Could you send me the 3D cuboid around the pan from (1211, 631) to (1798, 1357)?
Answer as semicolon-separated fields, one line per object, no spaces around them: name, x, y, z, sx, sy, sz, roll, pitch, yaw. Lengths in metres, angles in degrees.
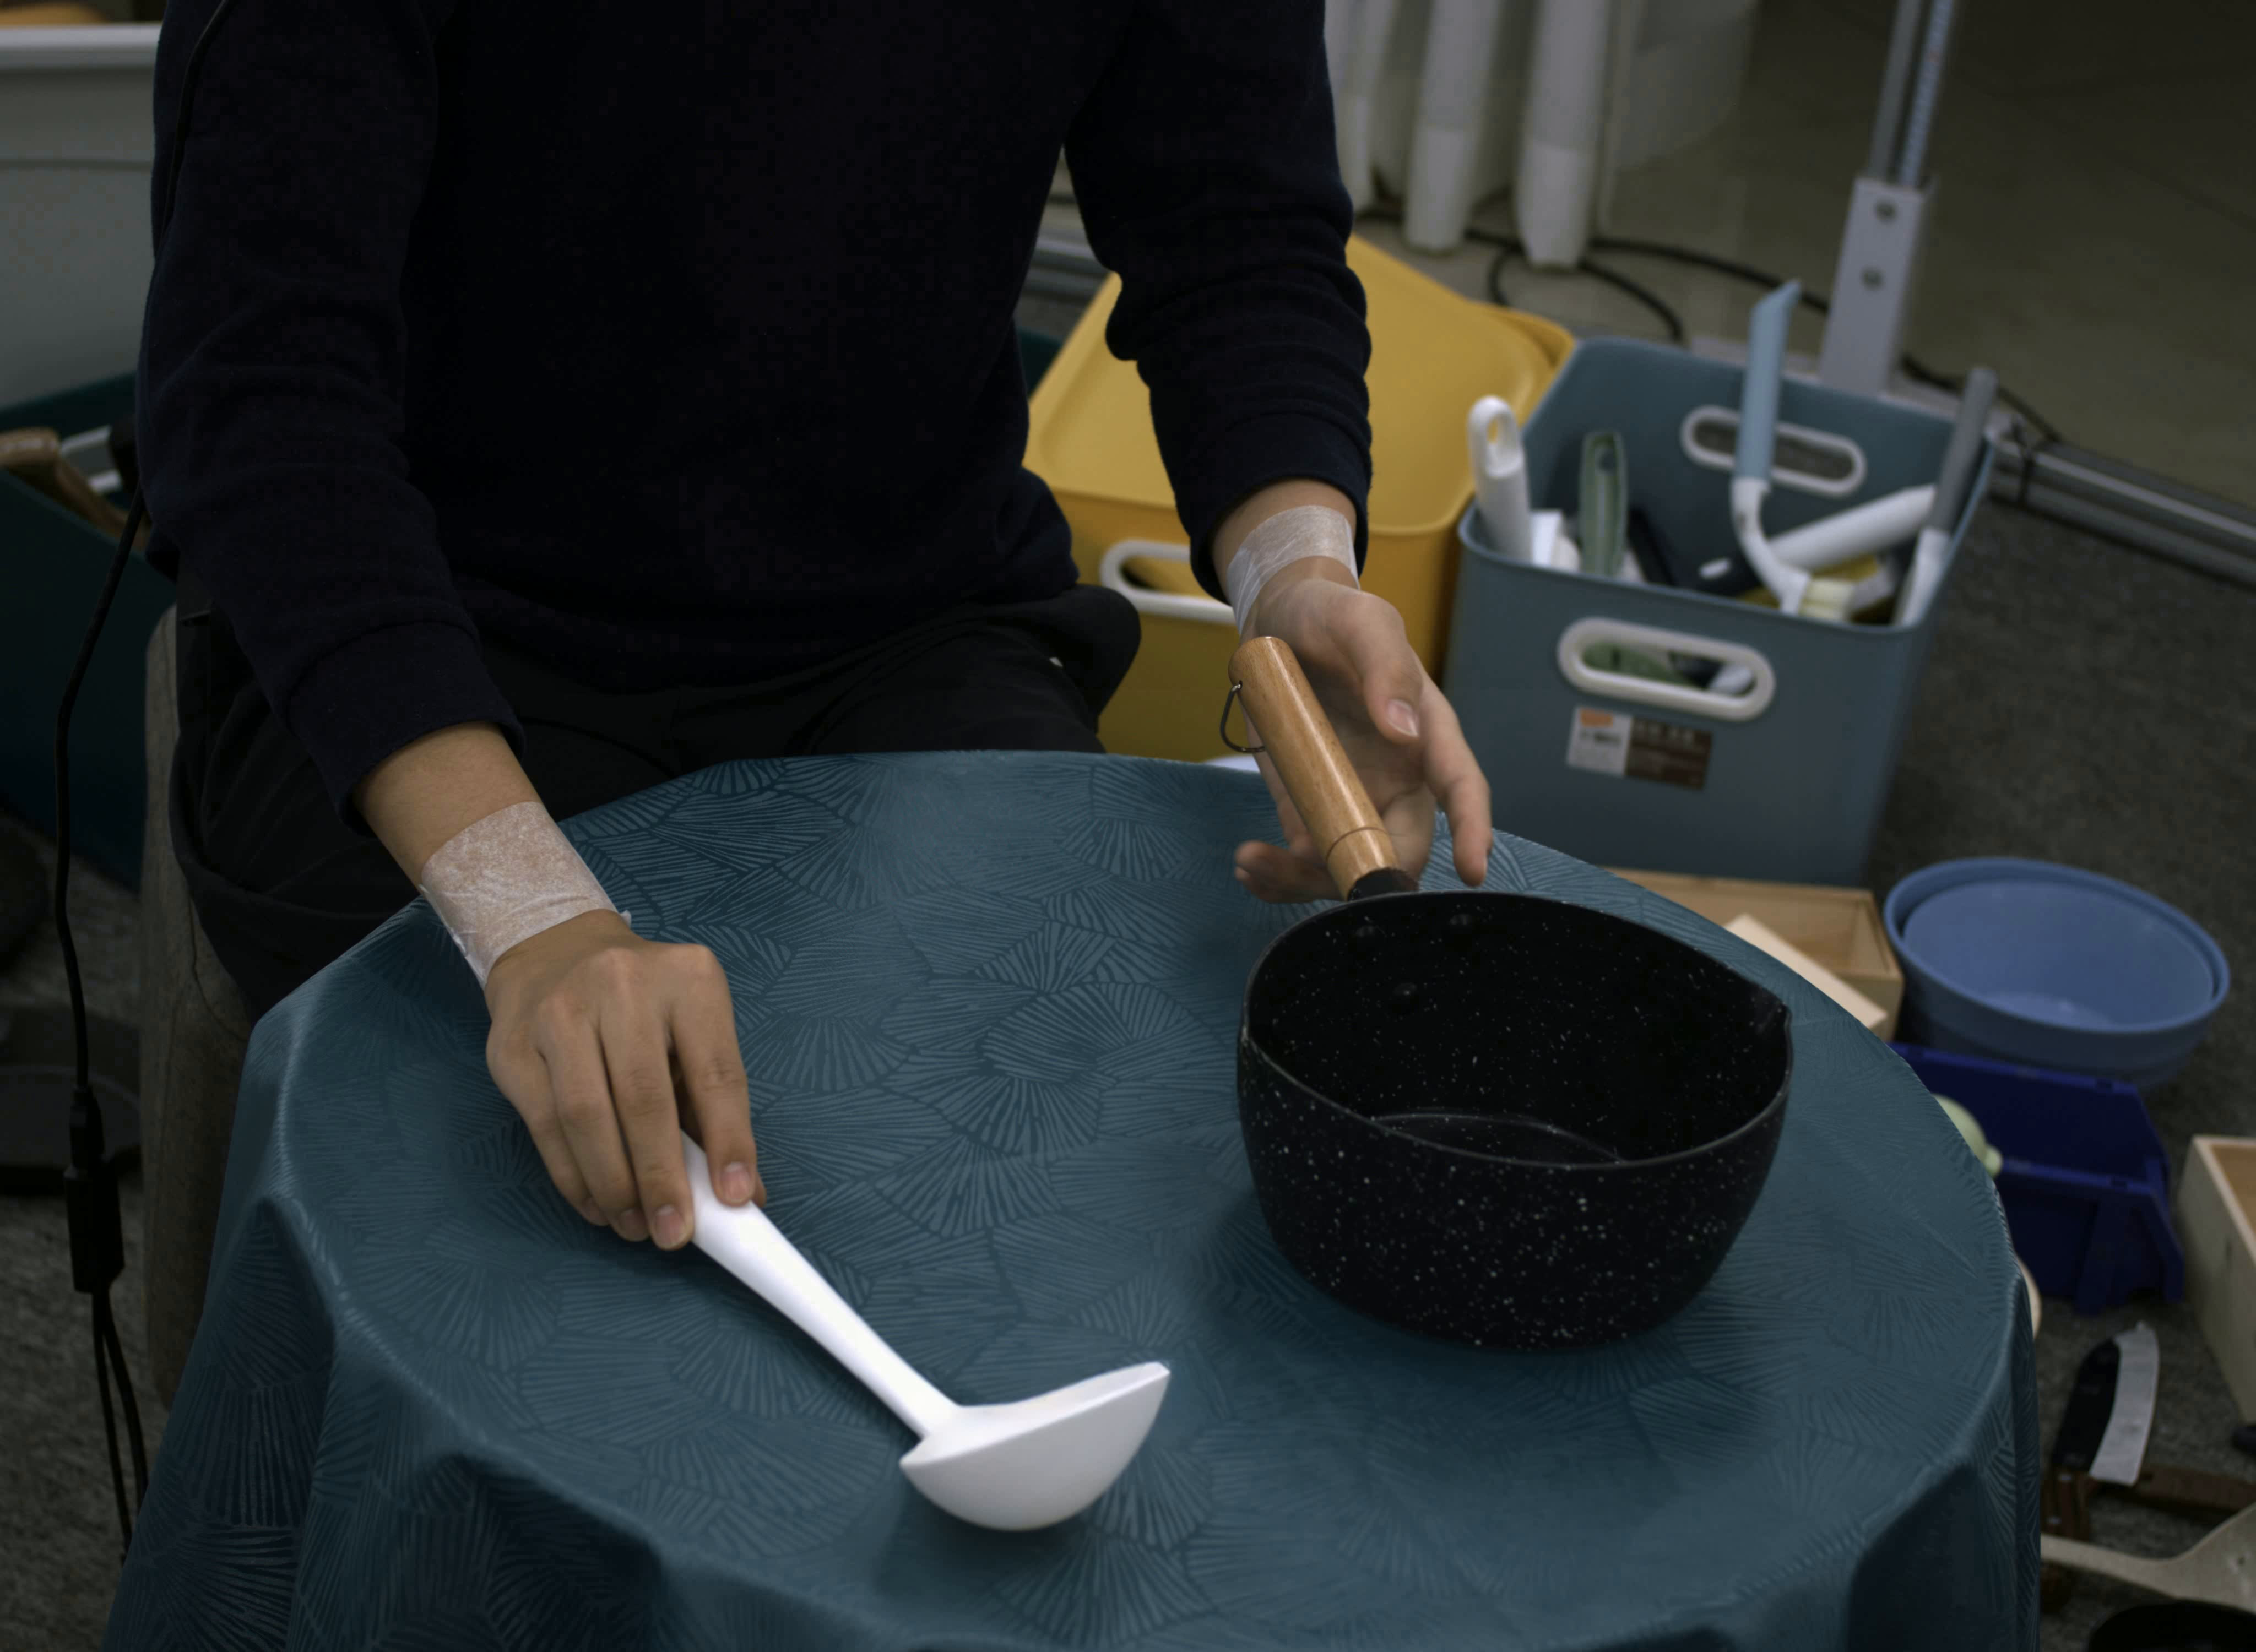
pan;0.098;0.055;1.841;0.206;0.108;0.346;-5;30;-21

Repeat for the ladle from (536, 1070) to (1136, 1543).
ladle;-0.104;0.140;1.679;0.090;0.069;0.295;-25;38;-26
